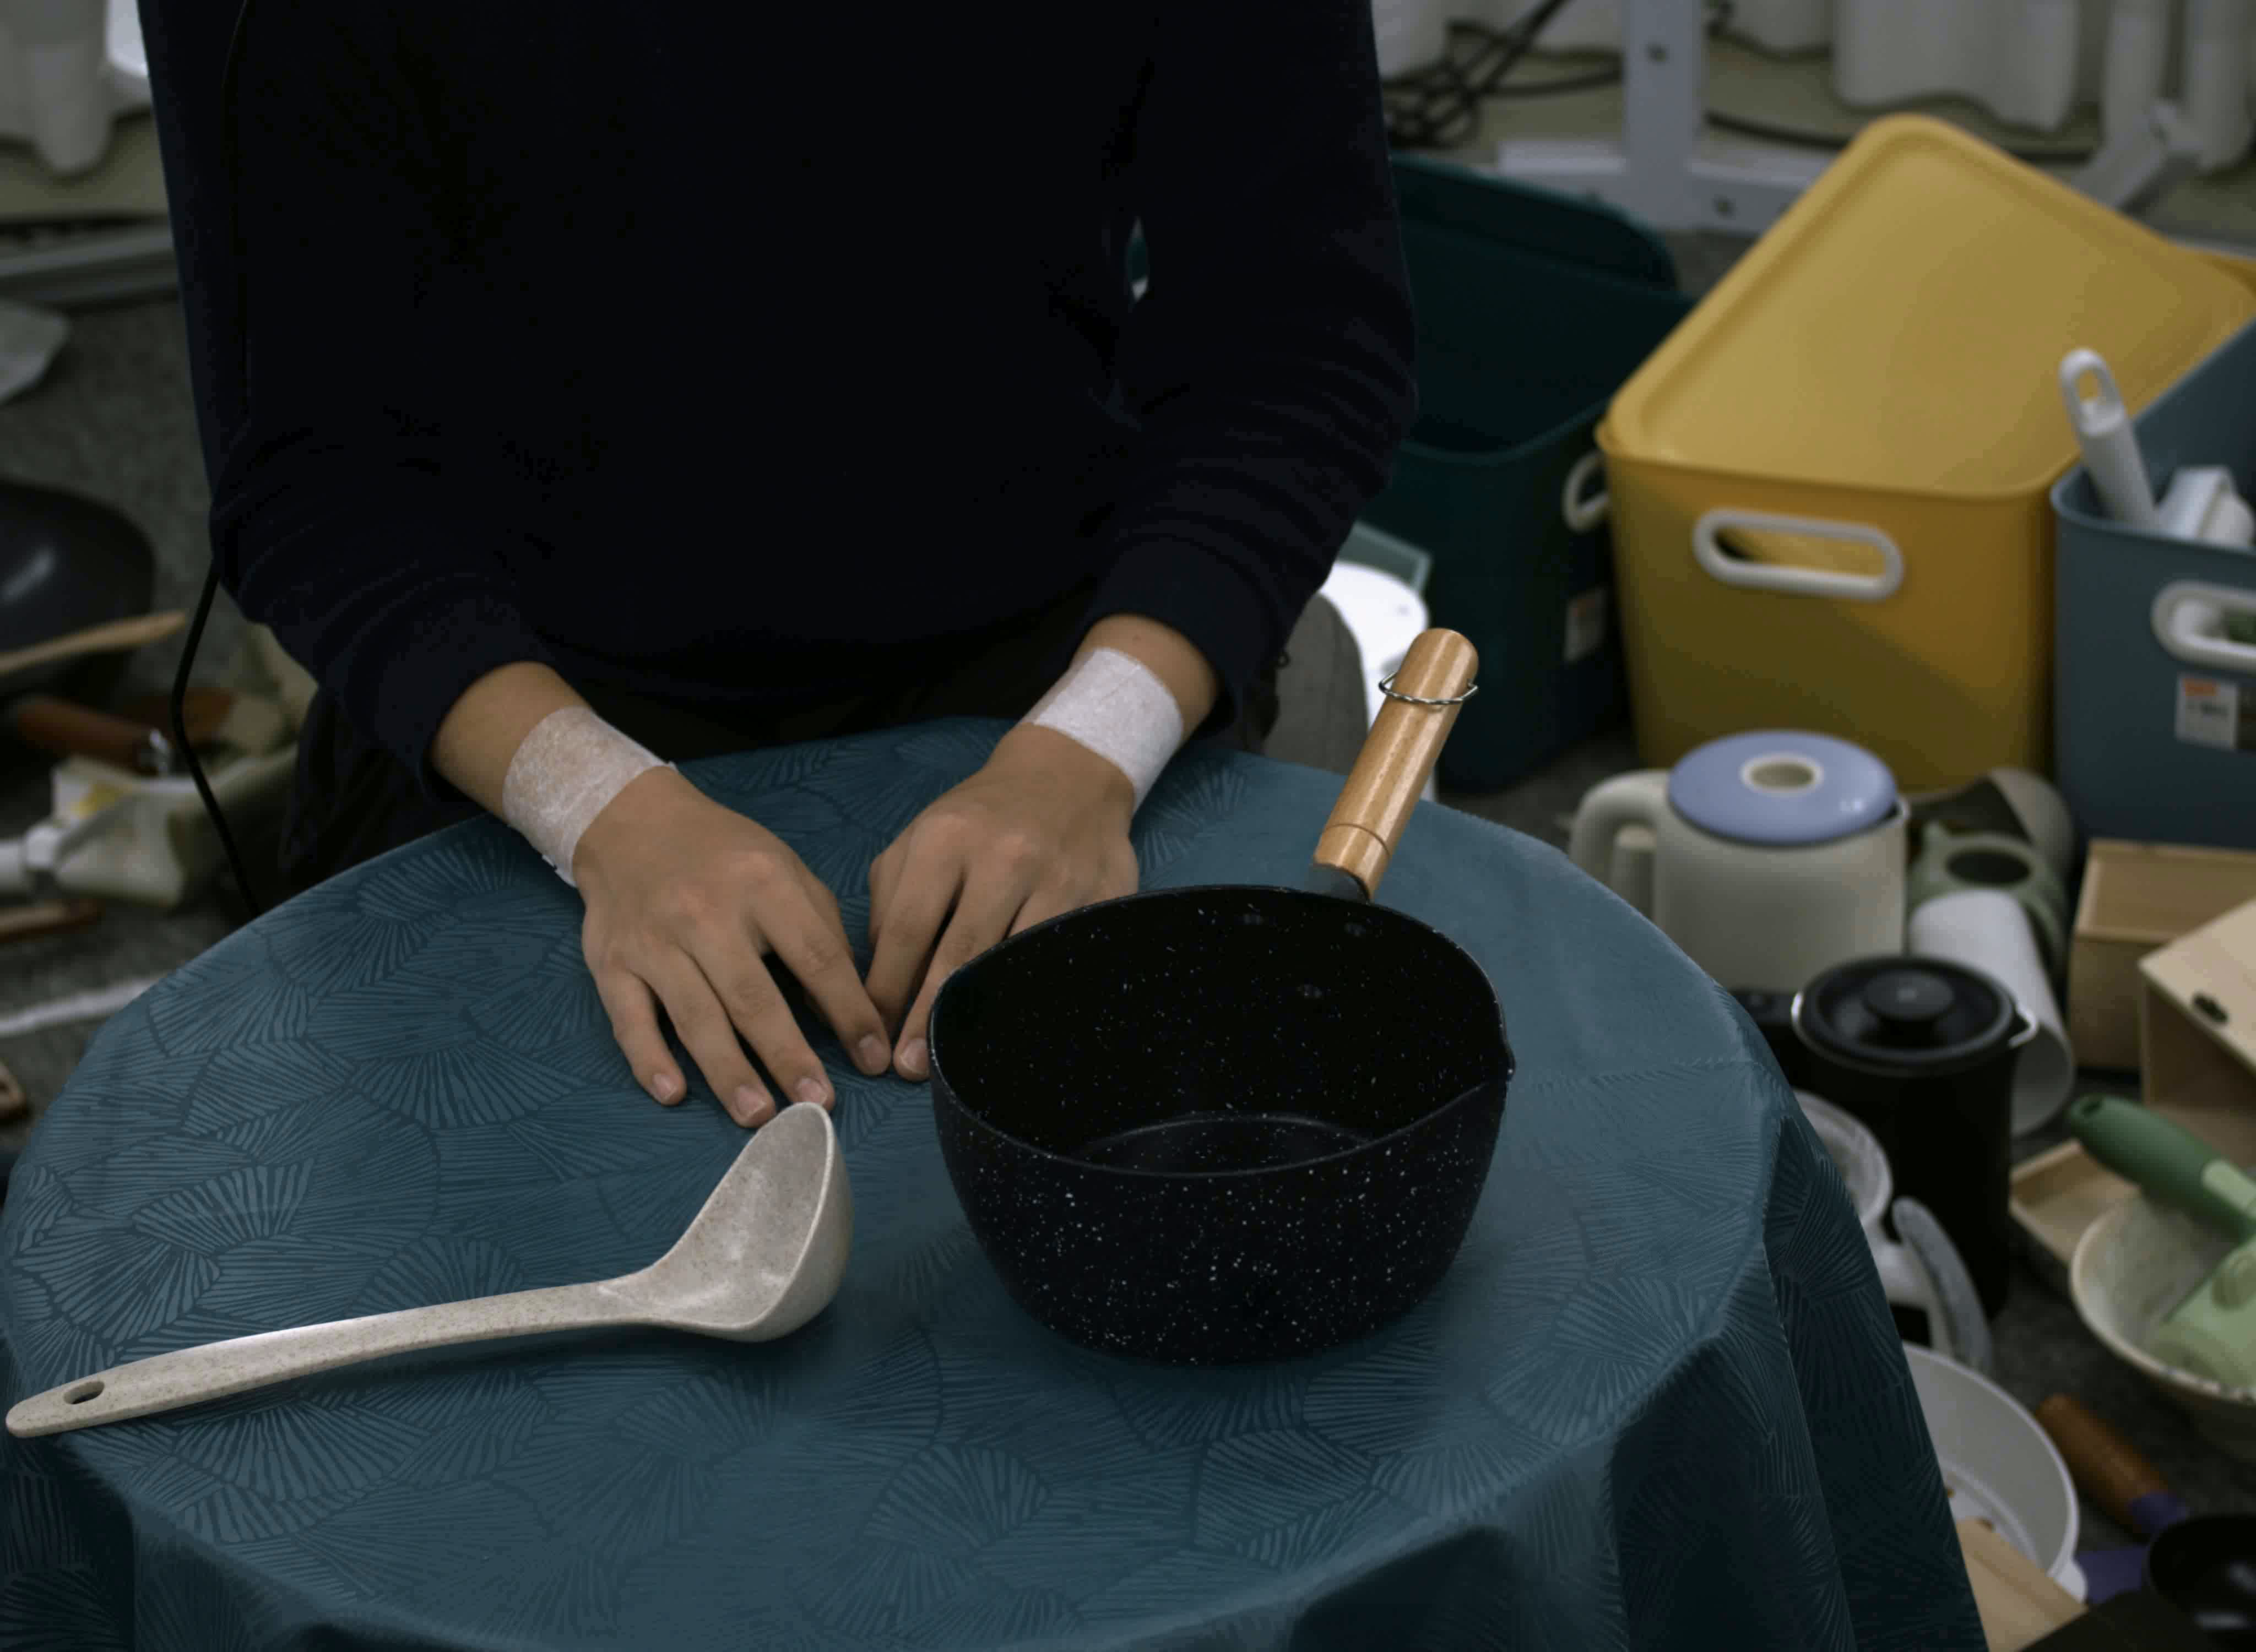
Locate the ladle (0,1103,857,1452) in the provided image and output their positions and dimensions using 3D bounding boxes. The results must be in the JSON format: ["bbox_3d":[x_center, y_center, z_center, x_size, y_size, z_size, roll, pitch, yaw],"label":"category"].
[{"bbox_3d":[-0.221,0.144,1.771,0.274,0.068,0.090,-9,35,-9],"label":"ladle"}]

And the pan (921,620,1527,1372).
[{"bbox_3d":[0.055,0.053,1.873,0.206,0.107,0.349,6,30,19],"label":"pan"}]
